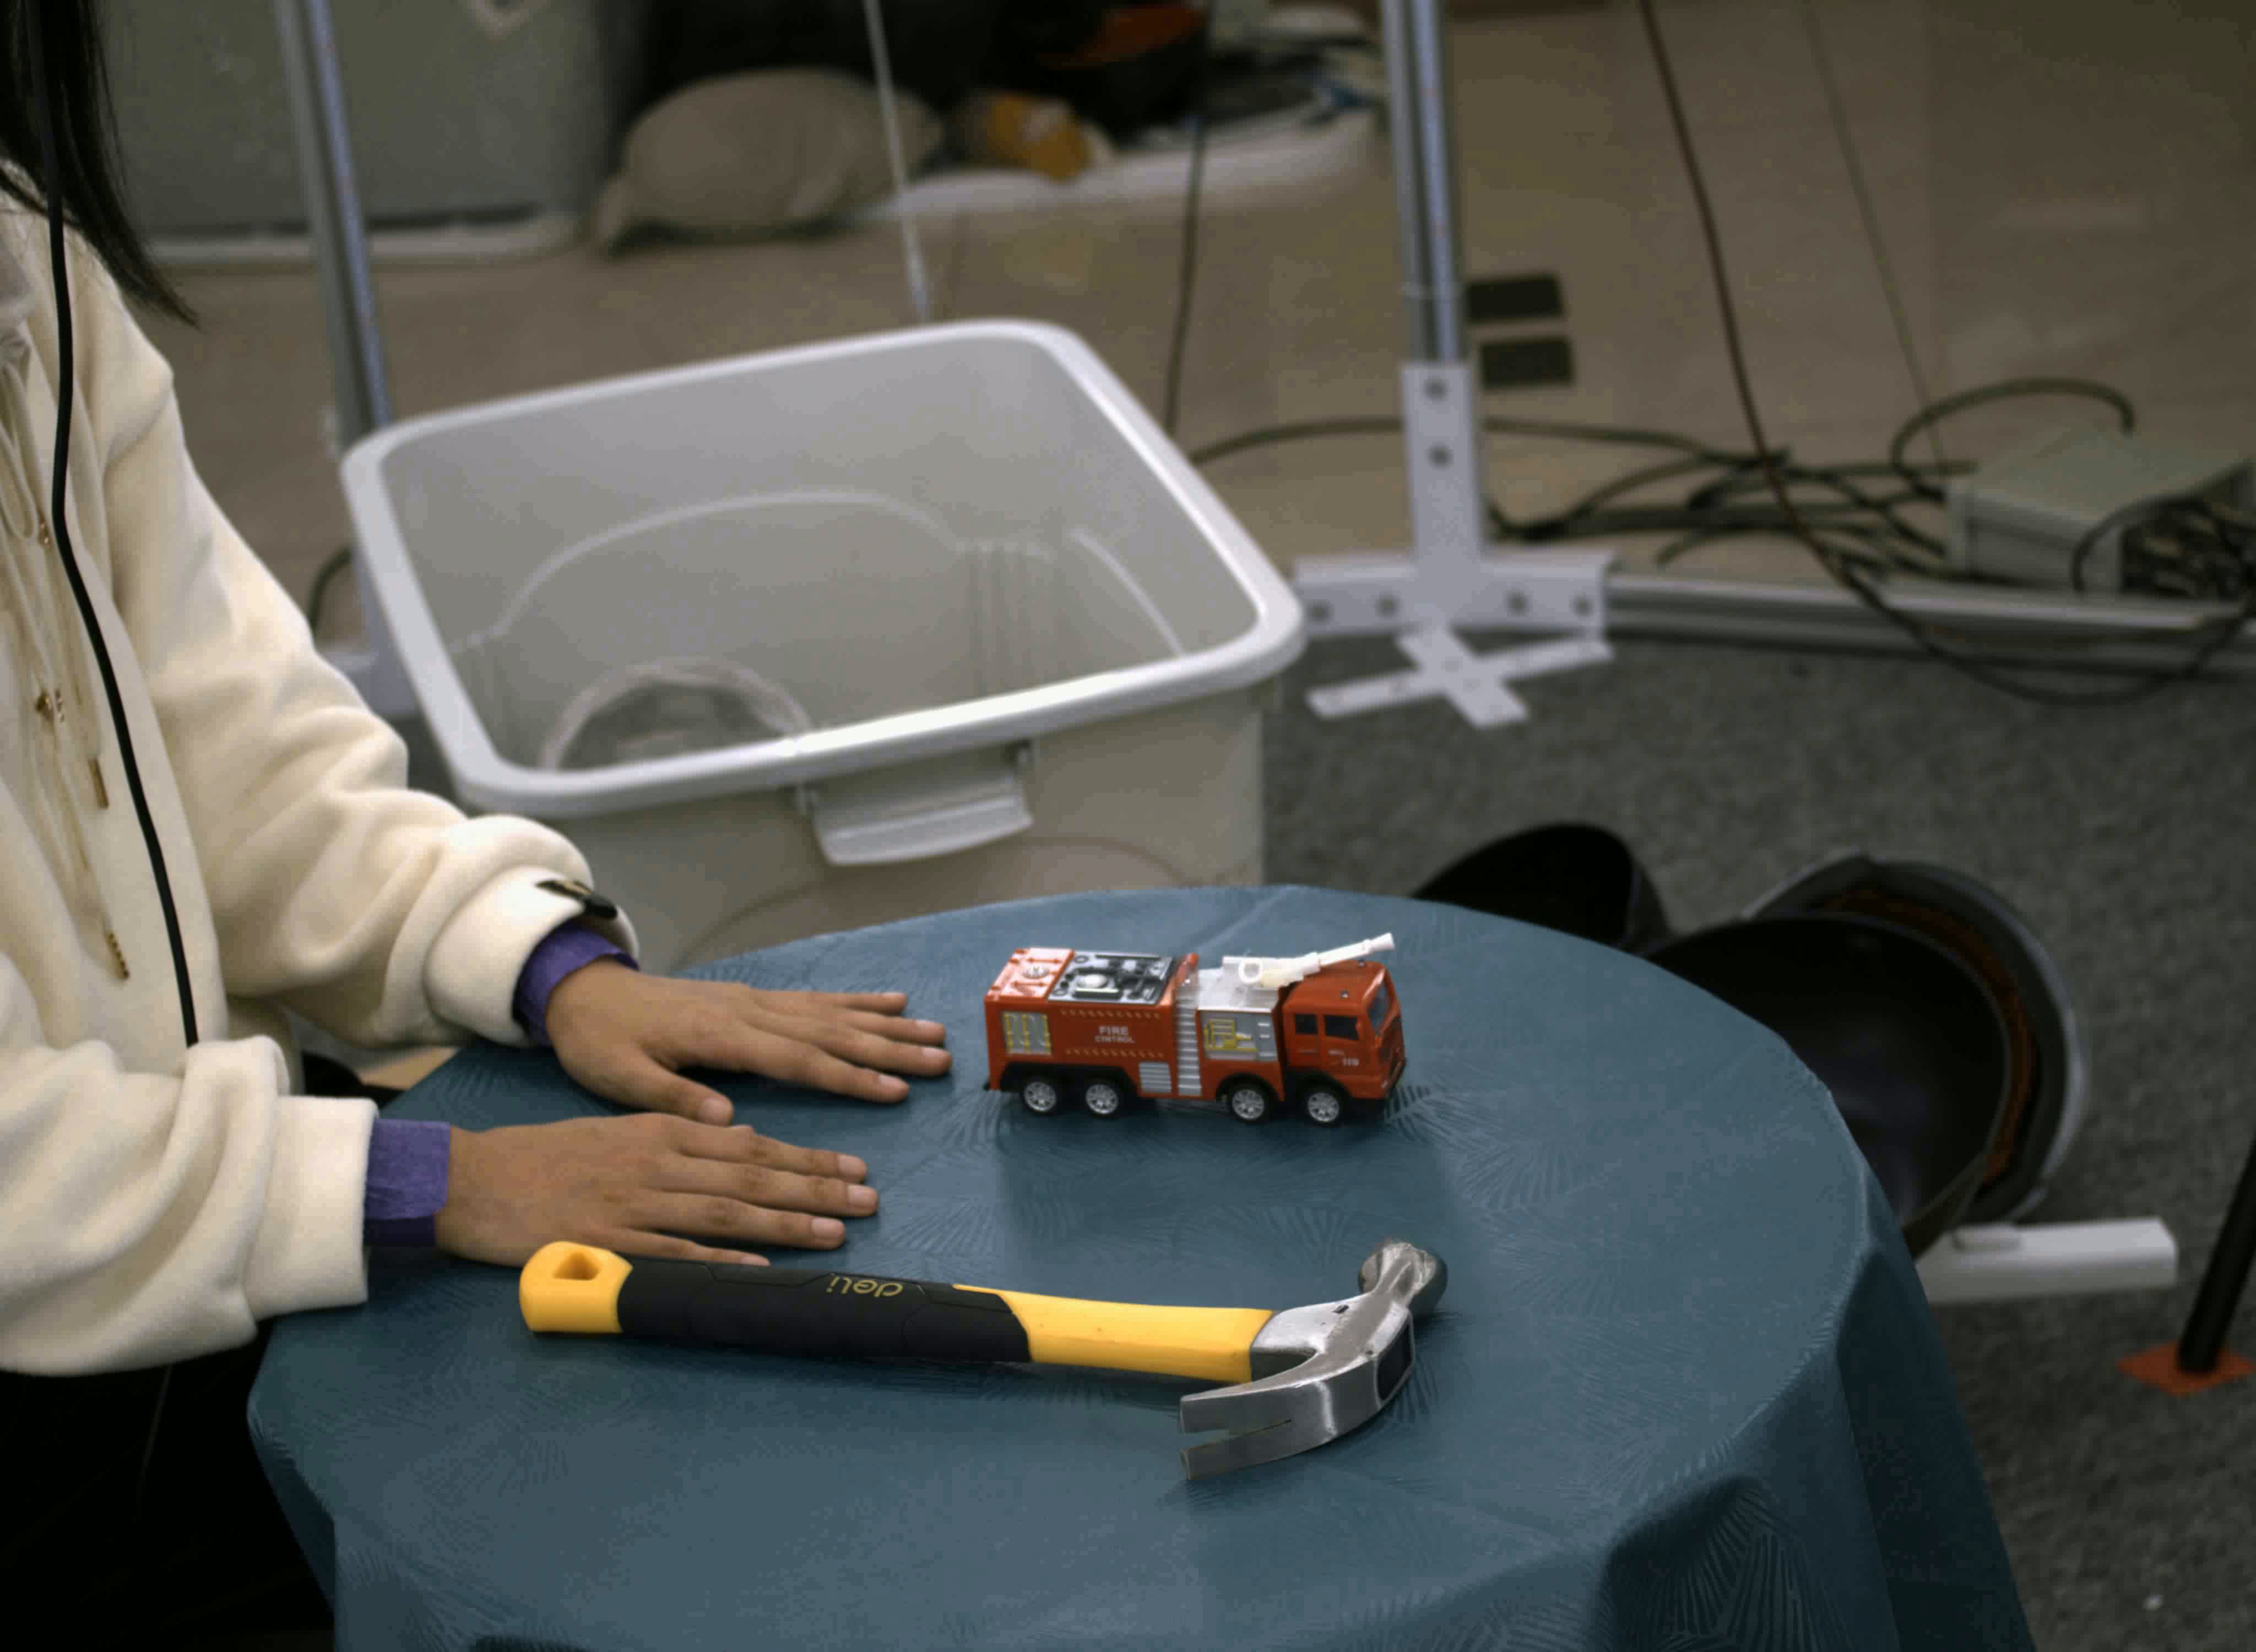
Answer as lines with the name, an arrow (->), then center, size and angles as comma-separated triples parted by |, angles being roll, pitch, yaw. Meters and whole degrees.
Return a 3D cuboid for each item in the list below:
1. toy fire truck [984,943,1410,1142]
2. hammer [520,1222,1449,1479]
toy fire truck -> 0.027, 0.080, 2.198 | 0.167, 0.071, 0.053 | 1, 26, 17
hammer -> -0.063, 0.174, 2.042 | 0.337, 0.033, 0.129 | 5, 28, 20
